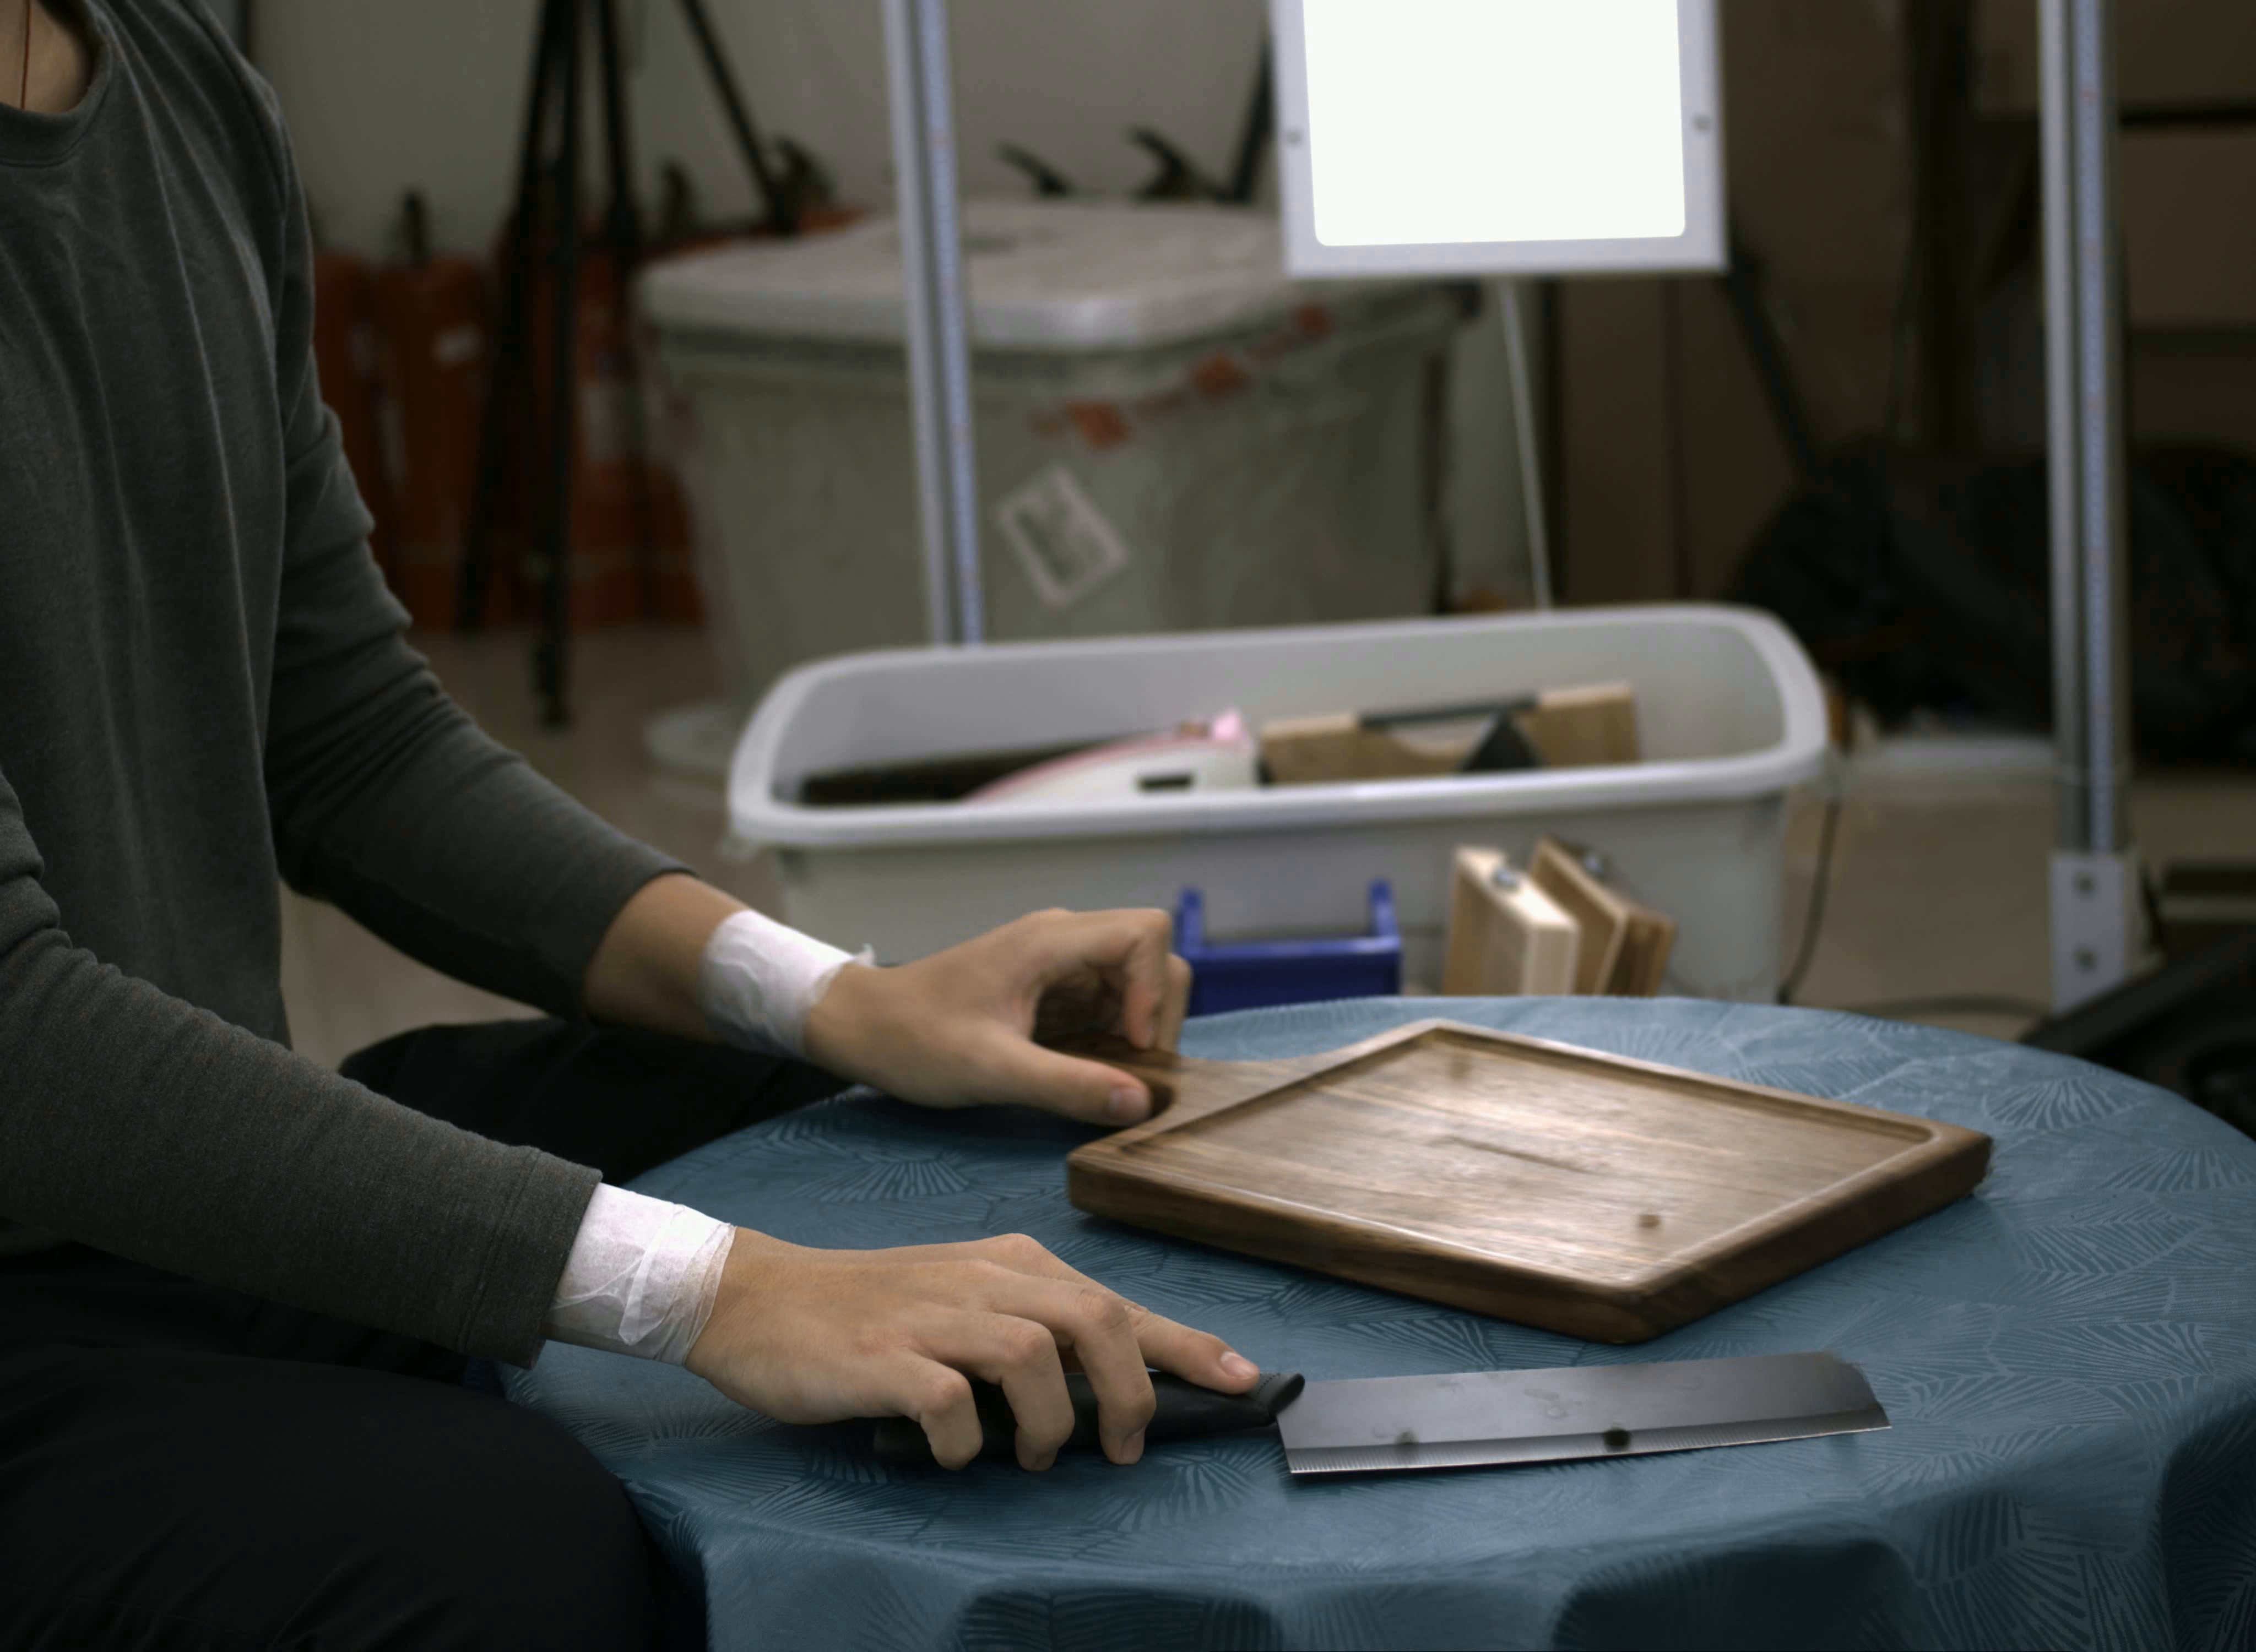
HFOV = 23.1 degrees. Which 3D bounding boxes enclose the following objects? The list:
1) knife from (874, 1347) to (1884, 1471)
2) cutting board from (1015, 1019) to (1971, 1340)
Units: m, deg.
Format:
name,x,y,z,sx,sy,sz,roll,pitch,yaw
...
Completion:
name,x,y,z,sx,sy,sz,roll,pitch,yaw
knife,0.075,0.176,1.644,0.302,0.021,0.080,-3,16,4
cutting board,0.094,0.108,1.883,0.360,0.023,0.196,10,20,44
